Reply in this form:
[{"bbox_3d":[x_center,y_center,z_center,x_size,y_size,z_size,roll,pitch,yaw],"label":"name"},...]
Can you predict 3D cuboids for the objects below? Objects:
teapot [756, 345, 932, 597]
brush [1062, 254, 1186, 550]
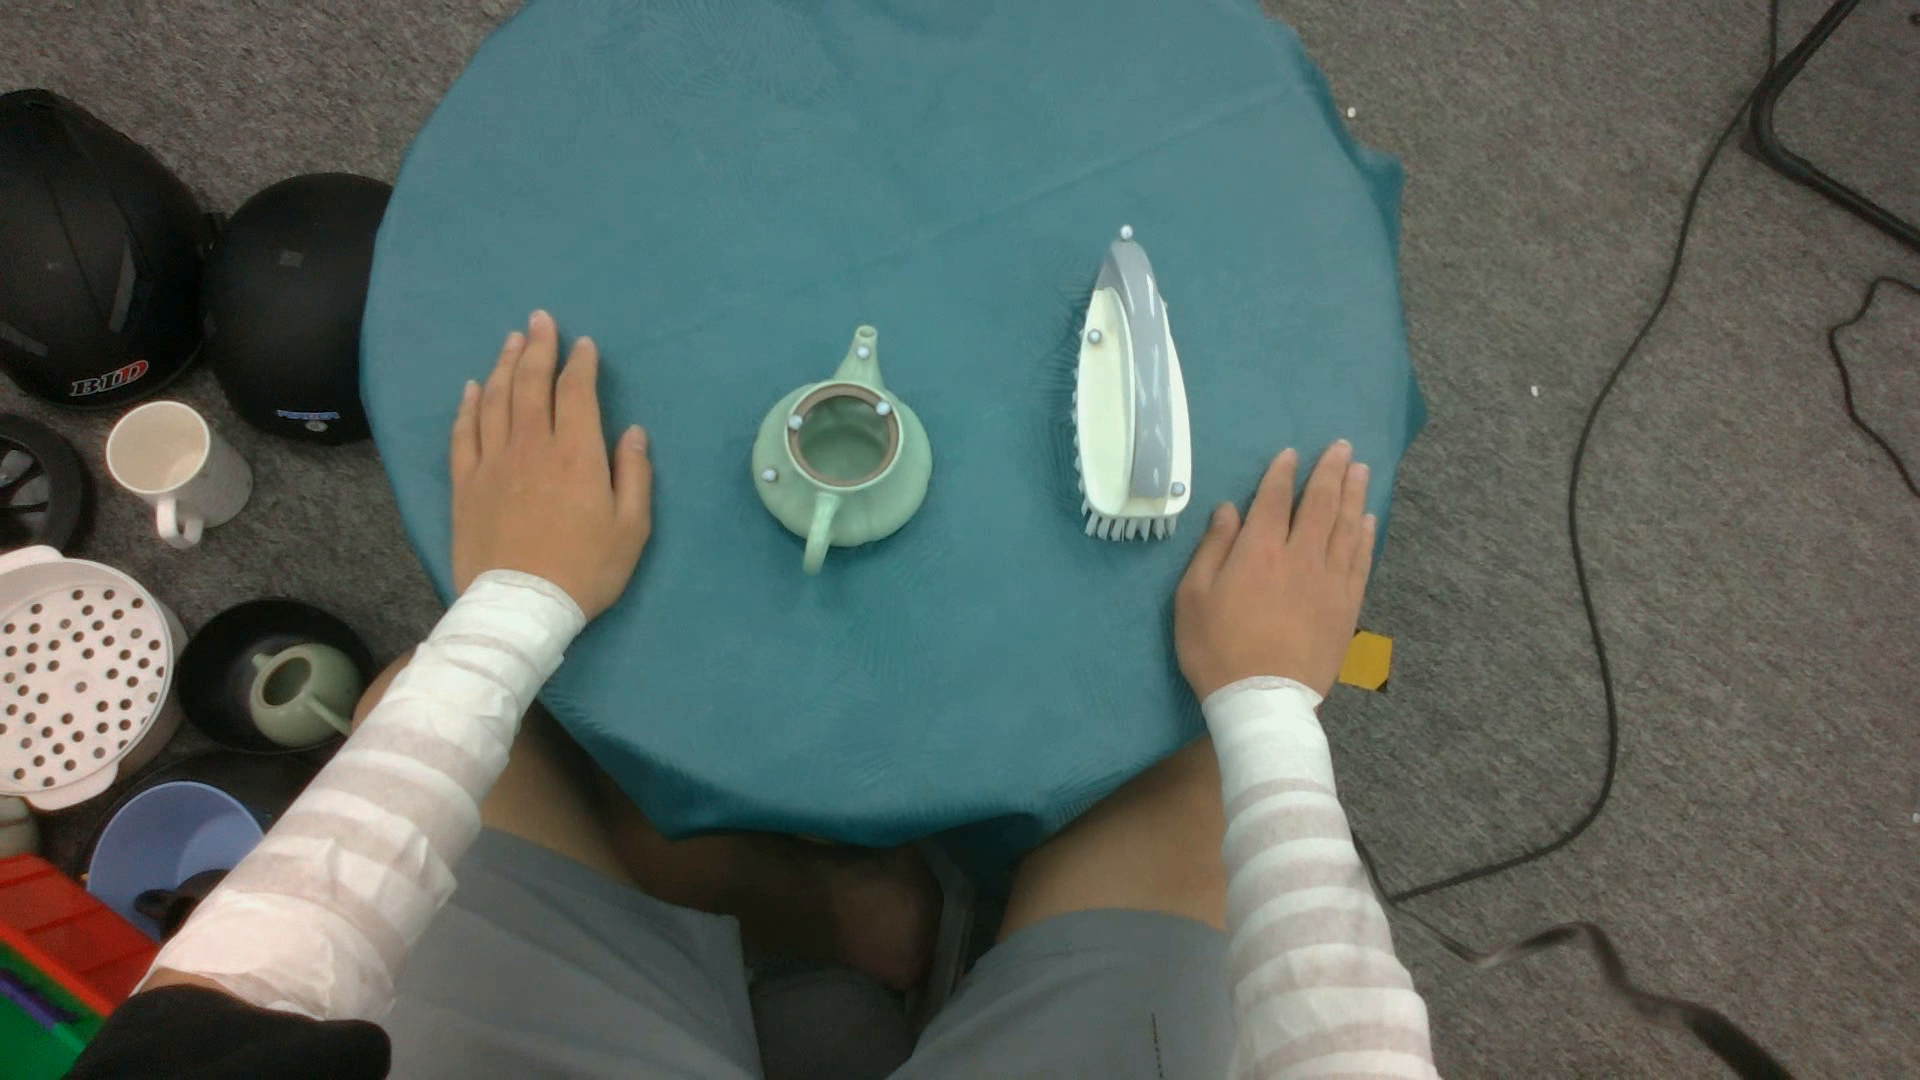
[{"bbox_3d":[-0.063,-0.032,0.744,0.096,0.061,0.137,8,70,-4],"label":"teapot"},{"bbox_3d":[0.091,-0.090,0.761,0.061,0.094,0.176,-1,68,-8],"label":"brush"}]
